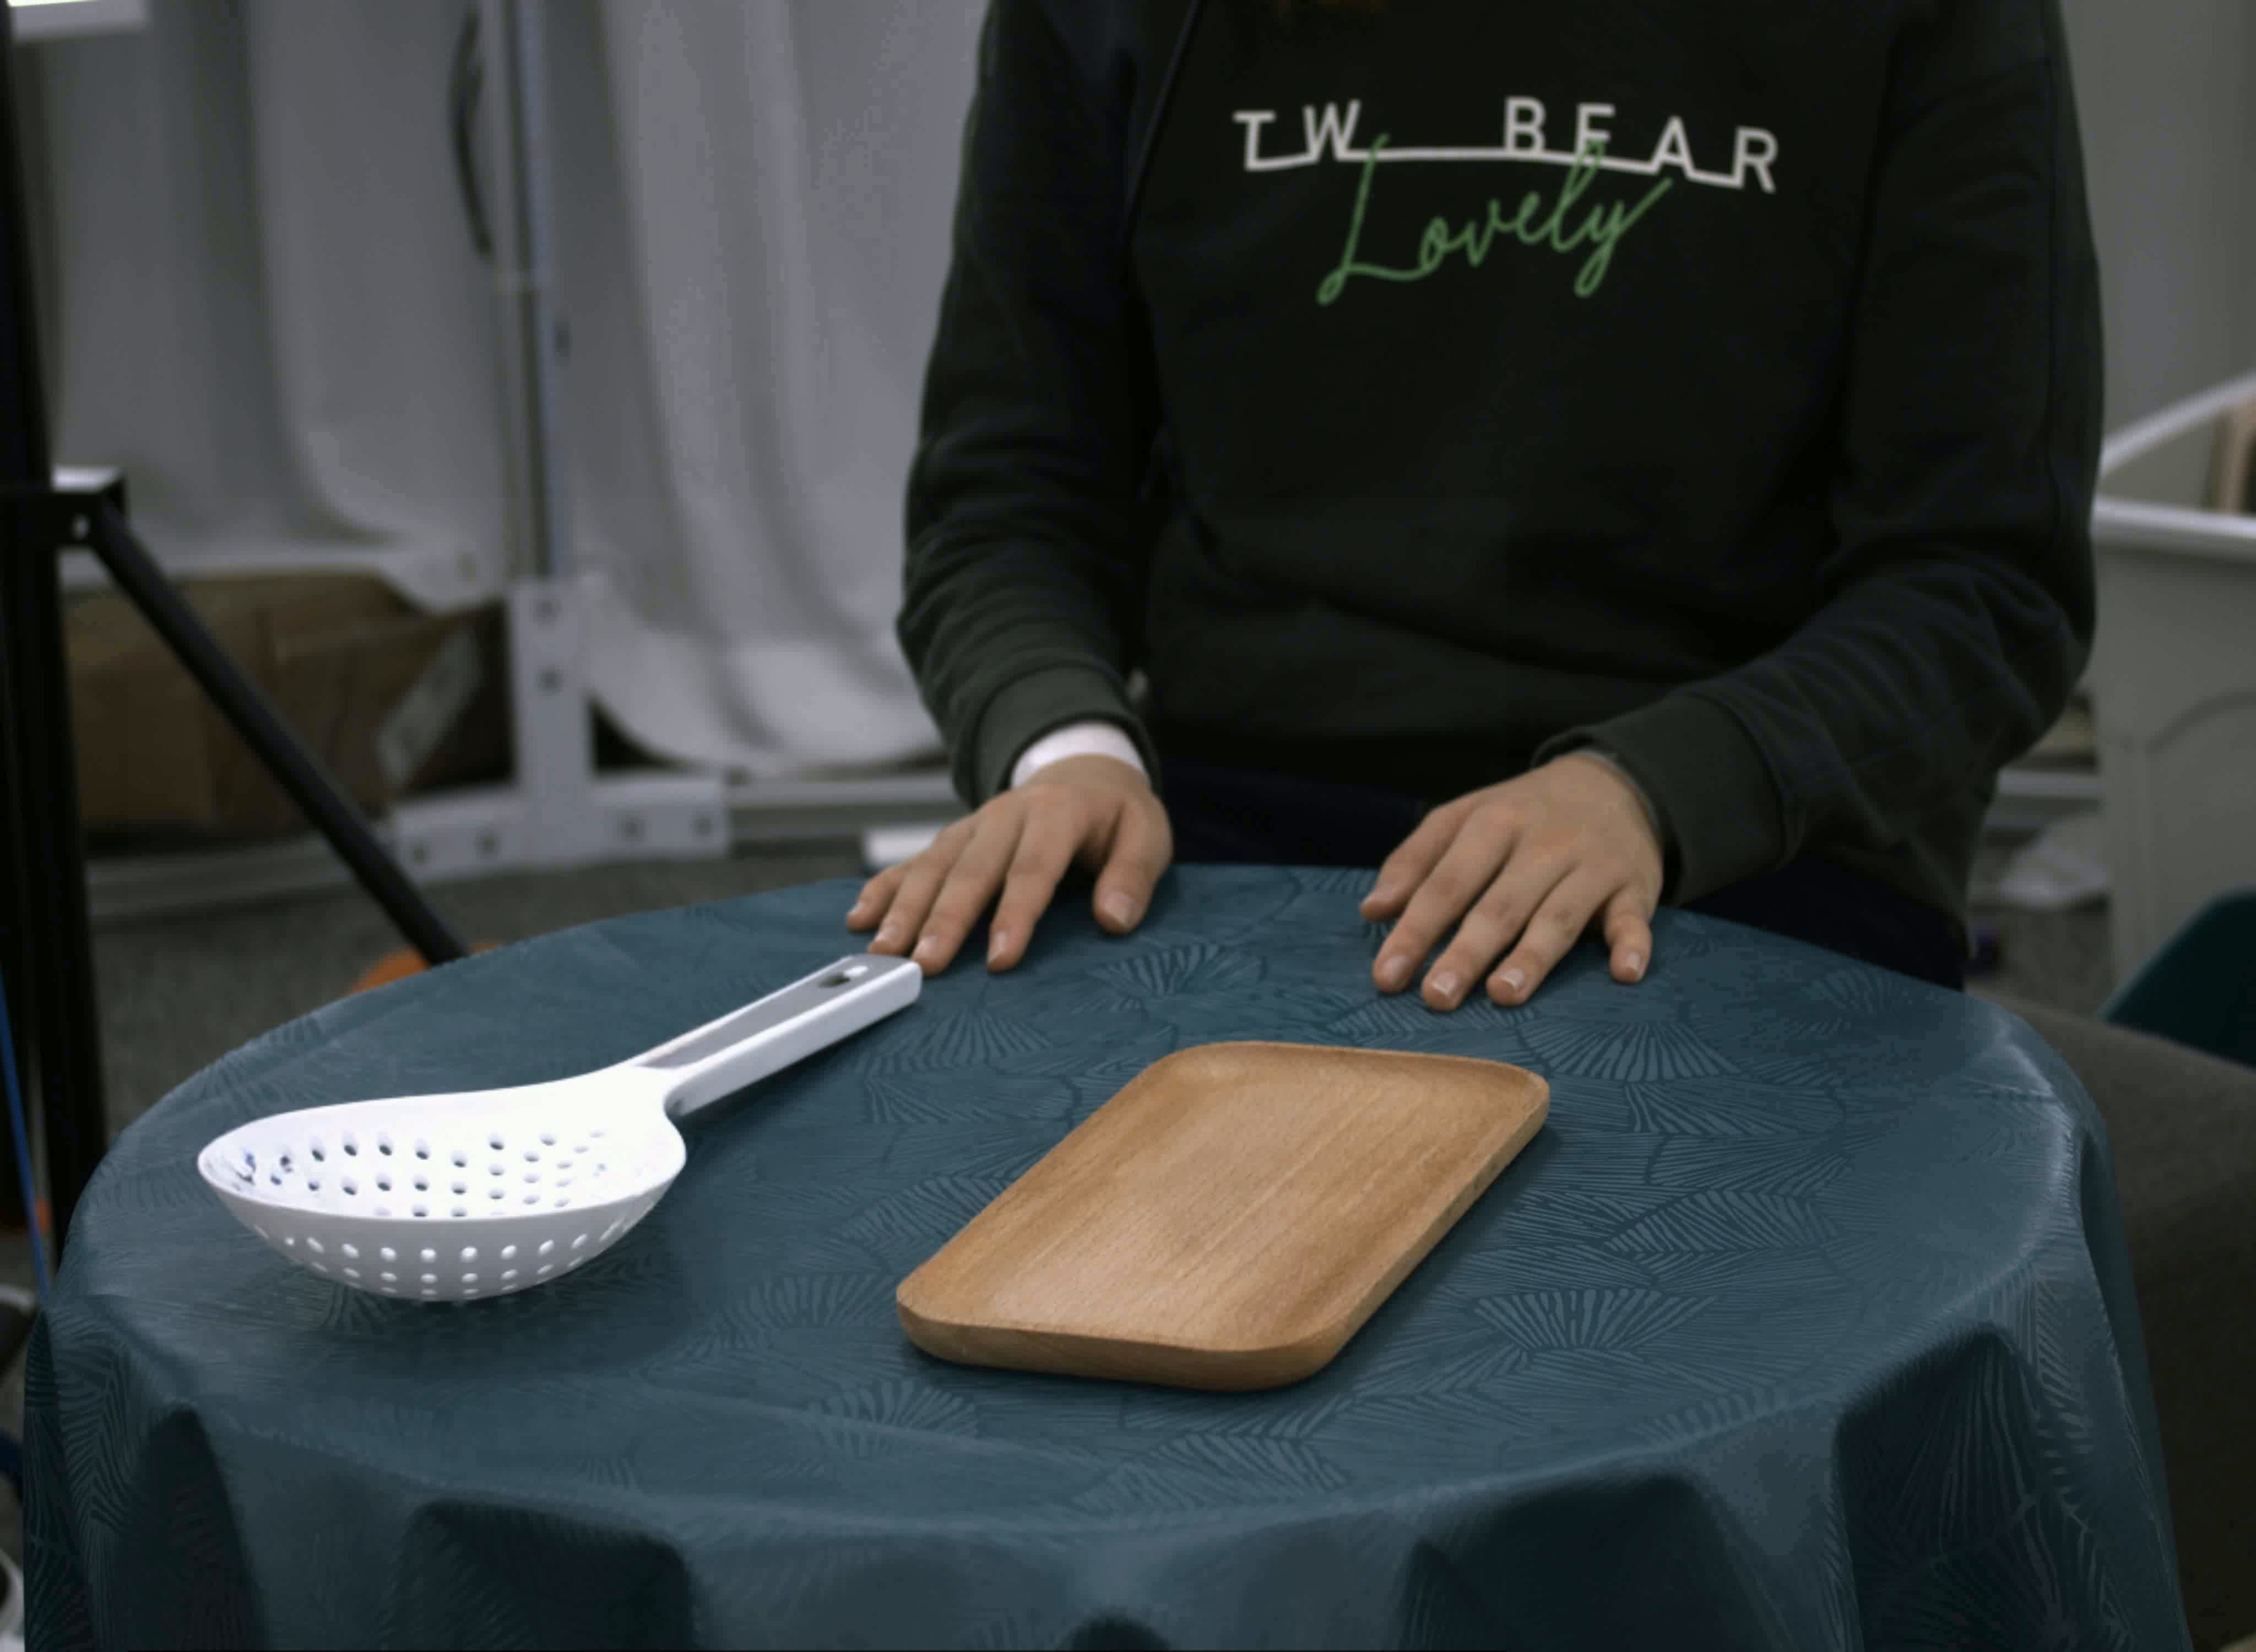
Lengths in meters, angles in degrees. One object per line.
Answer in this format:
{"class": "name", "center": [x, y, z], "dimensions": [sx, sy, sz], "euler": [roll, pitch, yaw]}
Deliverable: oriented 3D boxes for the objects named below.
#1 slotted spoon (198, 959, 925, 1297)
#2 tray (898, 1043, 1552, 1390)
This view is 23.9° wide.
{"class": "slotted spoon", "center": [-0.149, 0.081, 1.596], "dimensions": [0.138, 0.046, 0.344], "euler": [7, 17, 24]}
{"class": "tray", "center": [0.033, 0.109, 1.520], "dimensions": [0.132, 0.023, 0.247], "euler": [6, 17, 21]}
